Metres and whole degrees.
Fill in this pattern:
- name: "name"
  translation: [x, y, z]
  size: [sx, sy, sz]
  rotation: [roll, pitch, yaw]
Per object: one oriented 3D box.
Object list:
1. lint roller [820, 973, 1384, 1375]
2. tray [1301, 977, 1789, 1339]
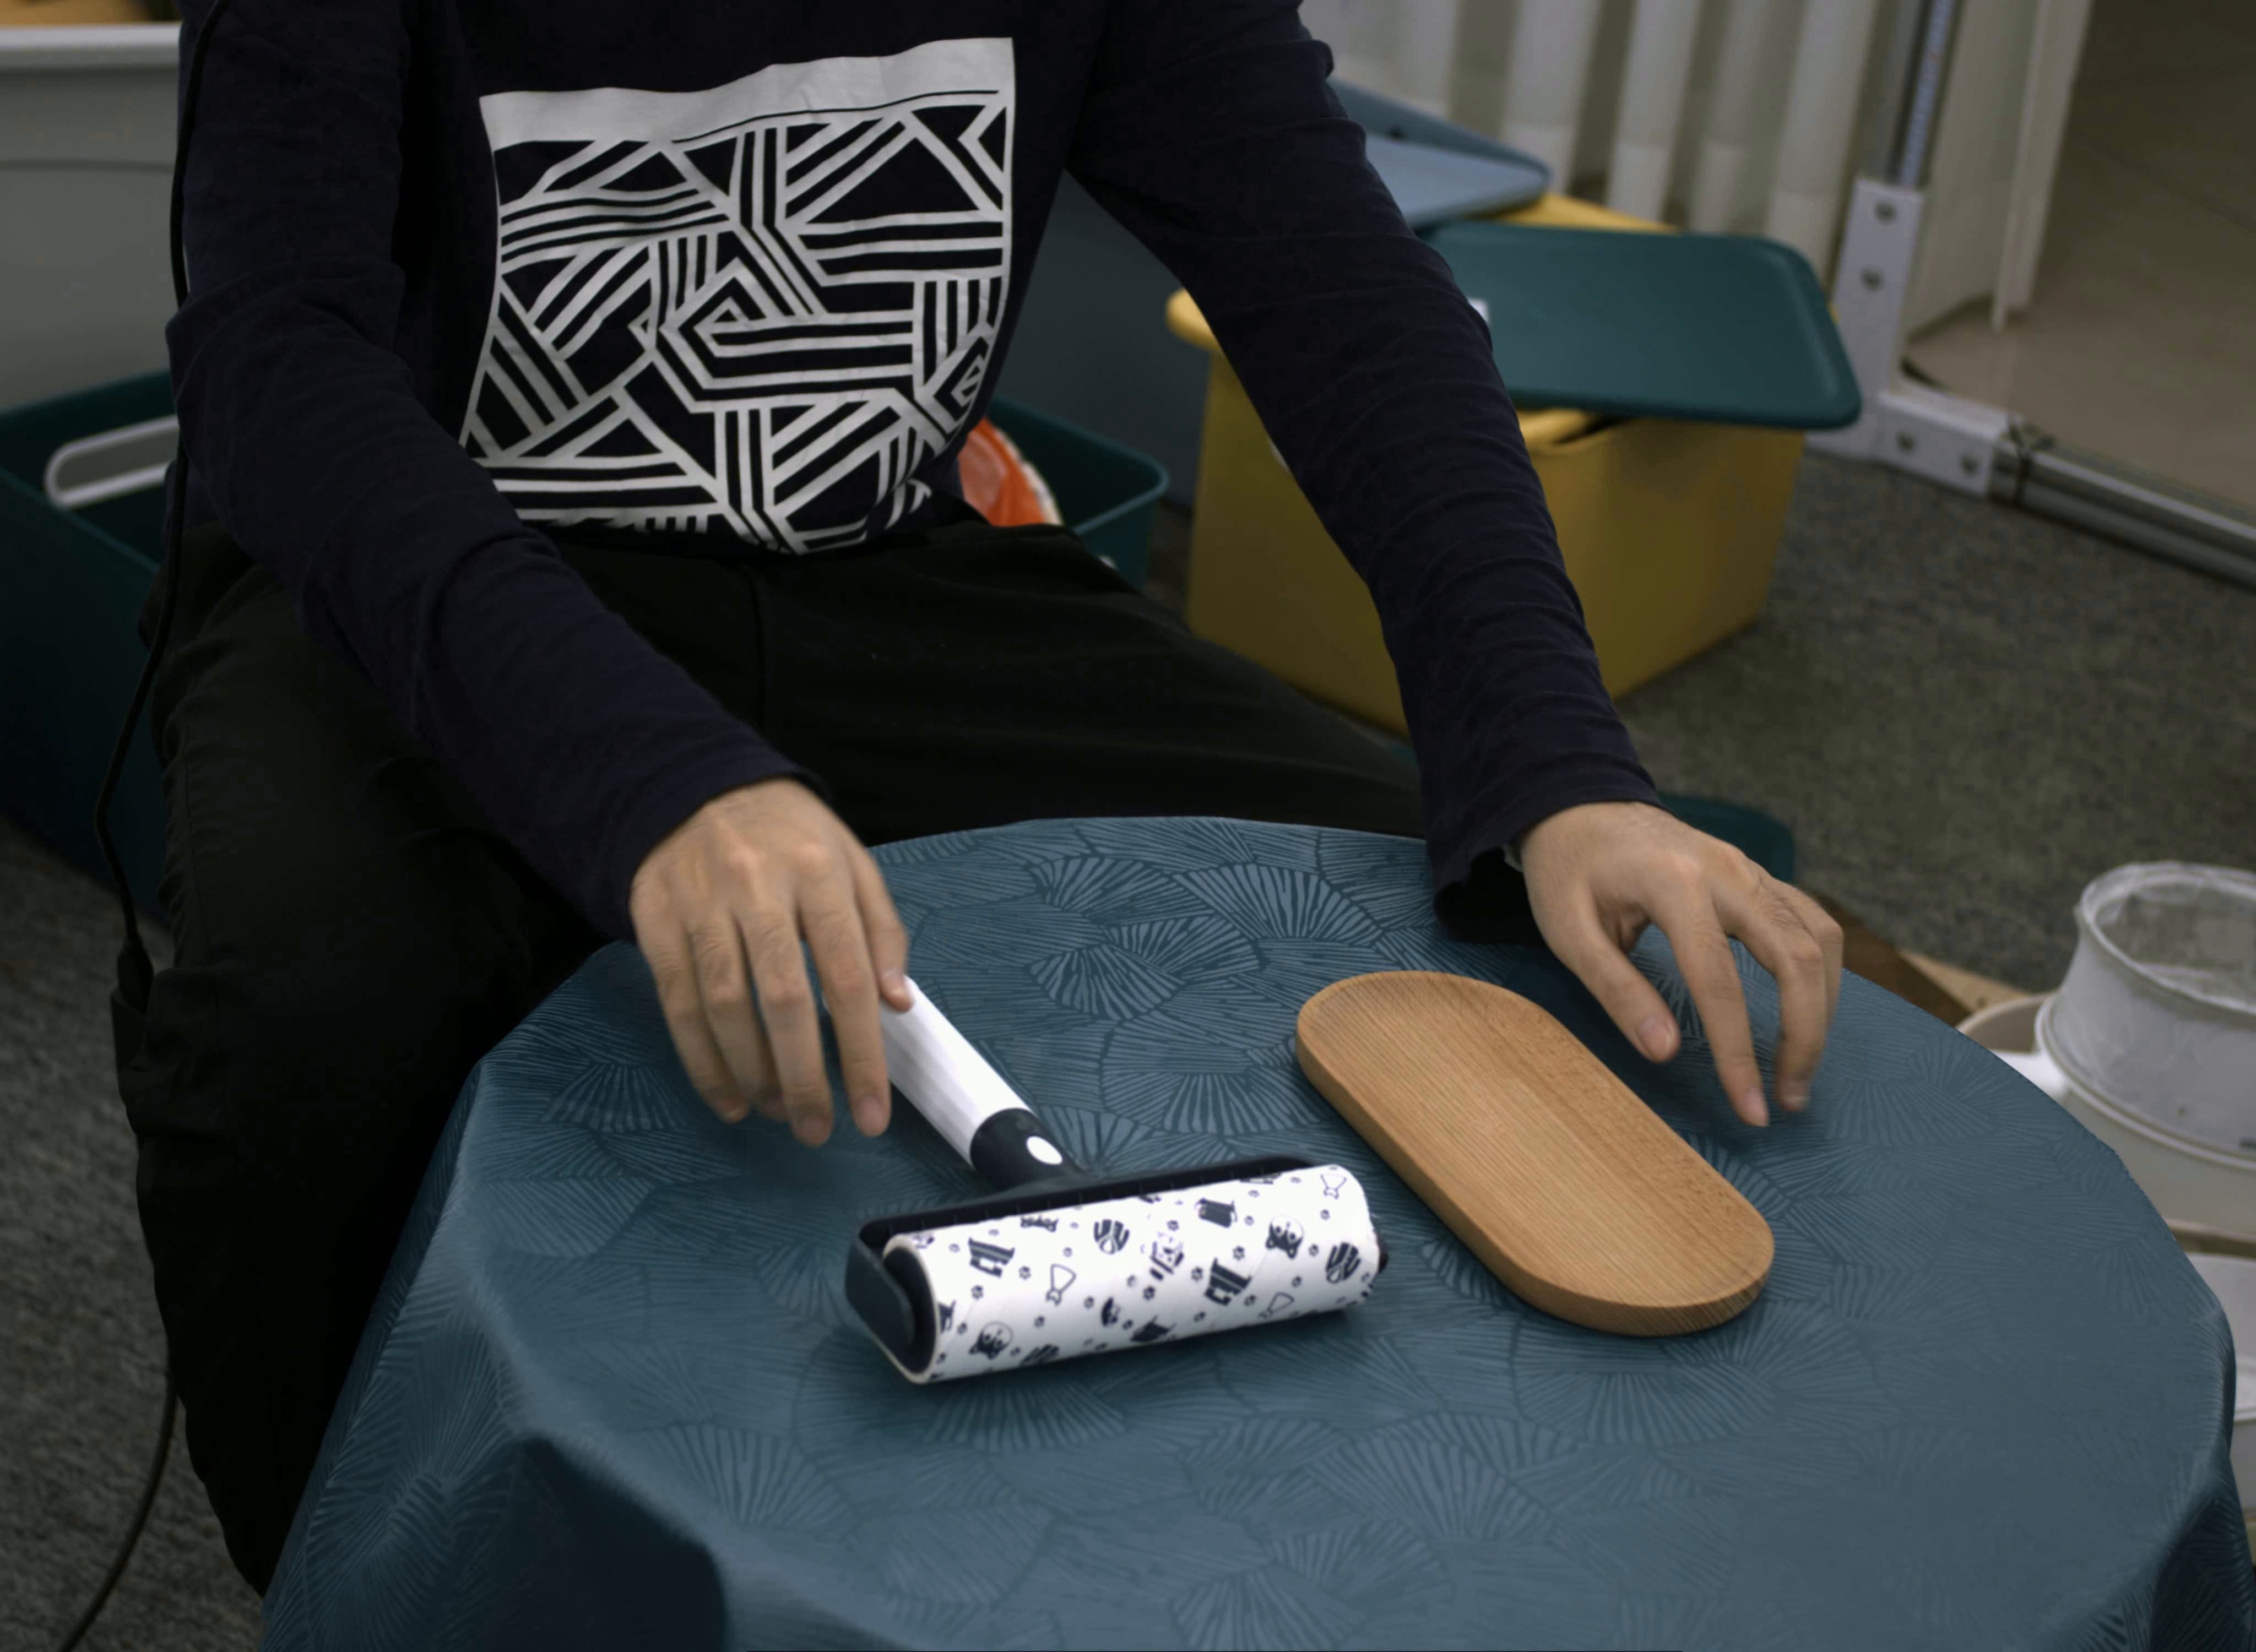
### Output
- name: "lint roller"
  translation: [-0.047, 0.102, 1.794]
  size: [0.175, 0.050, 0.249]
  rotation: [-8, 27, -26]
- name: "tray"
  translation: [0.141, 0.113, 1.841]
  size: [0.101, 0.020, 0.233]
  rotation: [-9, 32, -26]
